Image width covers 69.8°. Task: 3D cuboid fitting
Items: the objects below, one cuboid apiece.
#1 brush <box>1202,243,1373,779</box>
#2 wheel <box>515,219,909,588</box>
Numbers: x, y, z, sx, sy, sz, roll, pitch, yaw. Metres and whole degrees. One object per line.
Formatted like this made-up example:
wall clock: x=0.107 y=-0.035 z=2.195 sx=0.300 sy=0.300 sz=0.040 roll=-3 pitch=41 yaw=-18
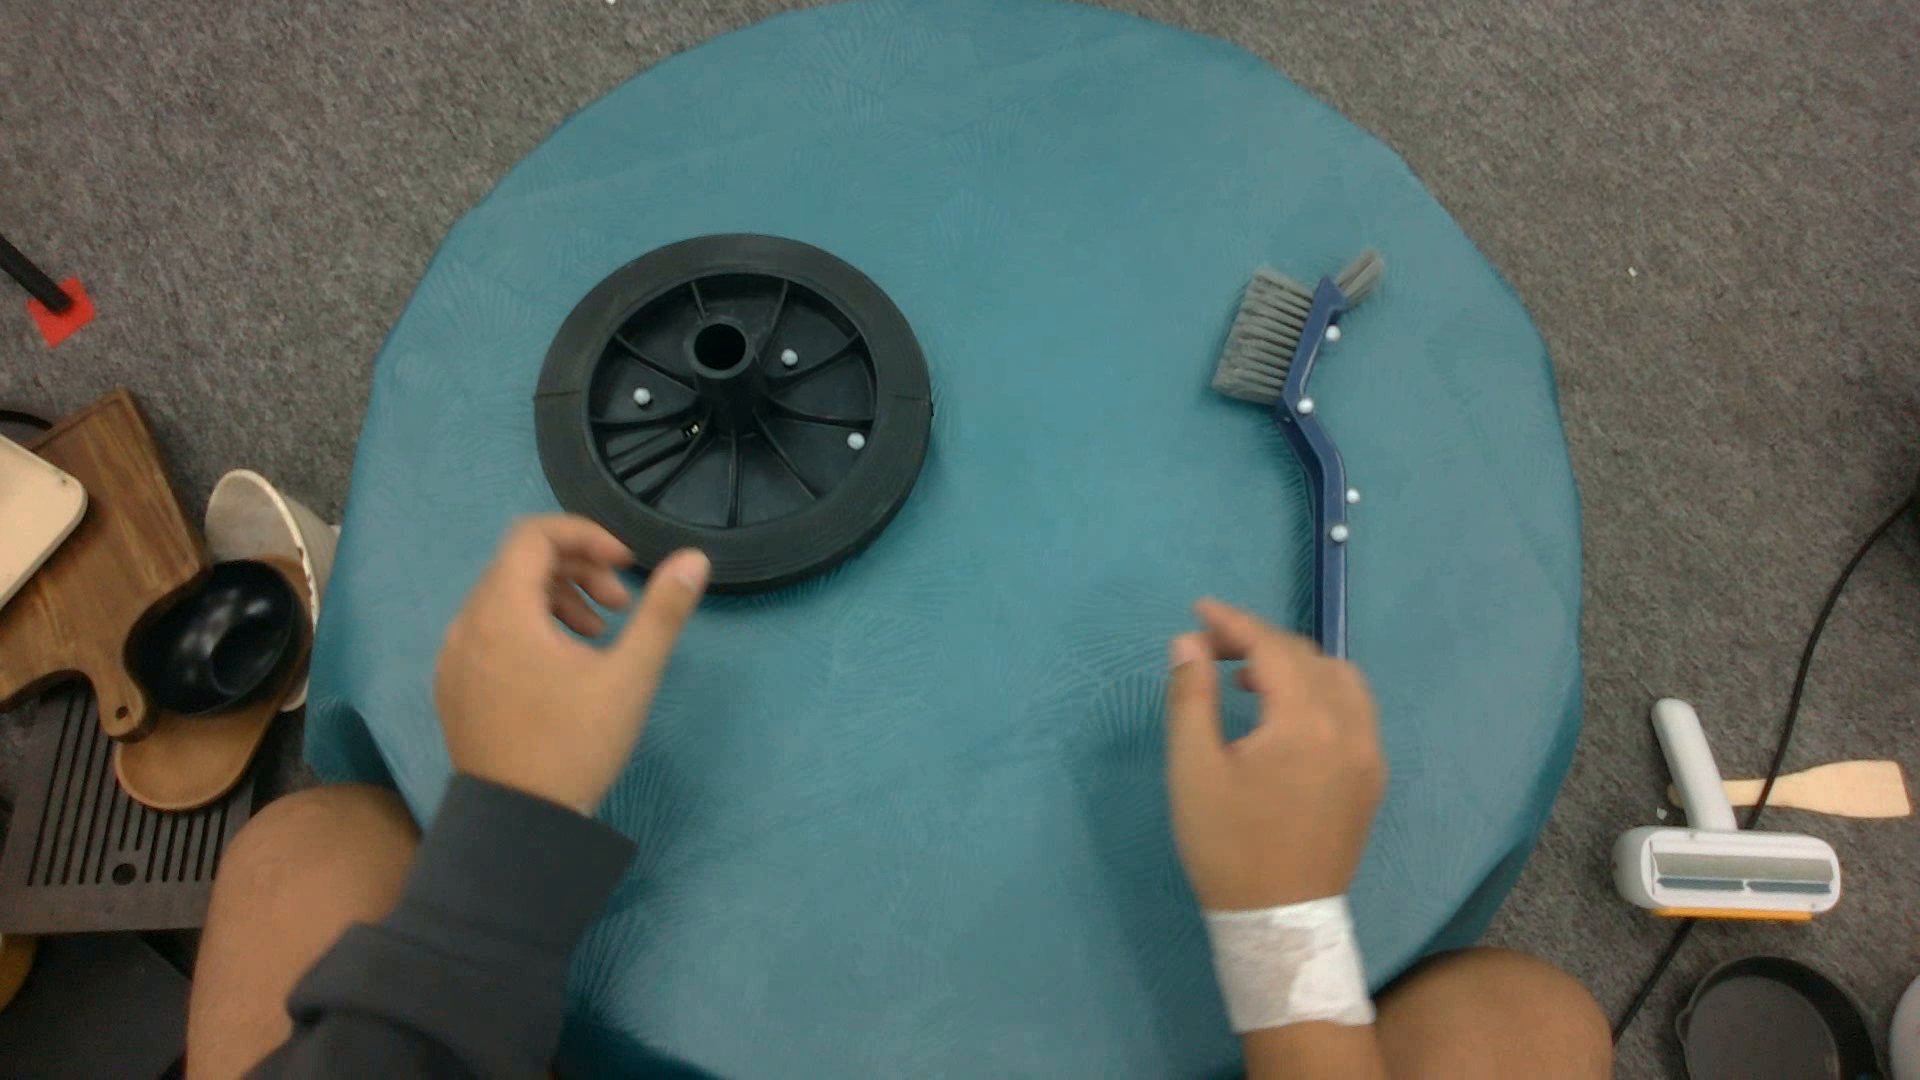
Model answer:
brush: x=0.174 y=-0.024 z=0.663 sx=0.096 sy=0.033 sz=0.274 roll=-2 pitch=68 yaw=-5
wheel: x=-0.117 y=-0.076 z=0.643 sx=0.187 sy=0.079 sz=0.190 roll=33 pitch=72 yaw=9
